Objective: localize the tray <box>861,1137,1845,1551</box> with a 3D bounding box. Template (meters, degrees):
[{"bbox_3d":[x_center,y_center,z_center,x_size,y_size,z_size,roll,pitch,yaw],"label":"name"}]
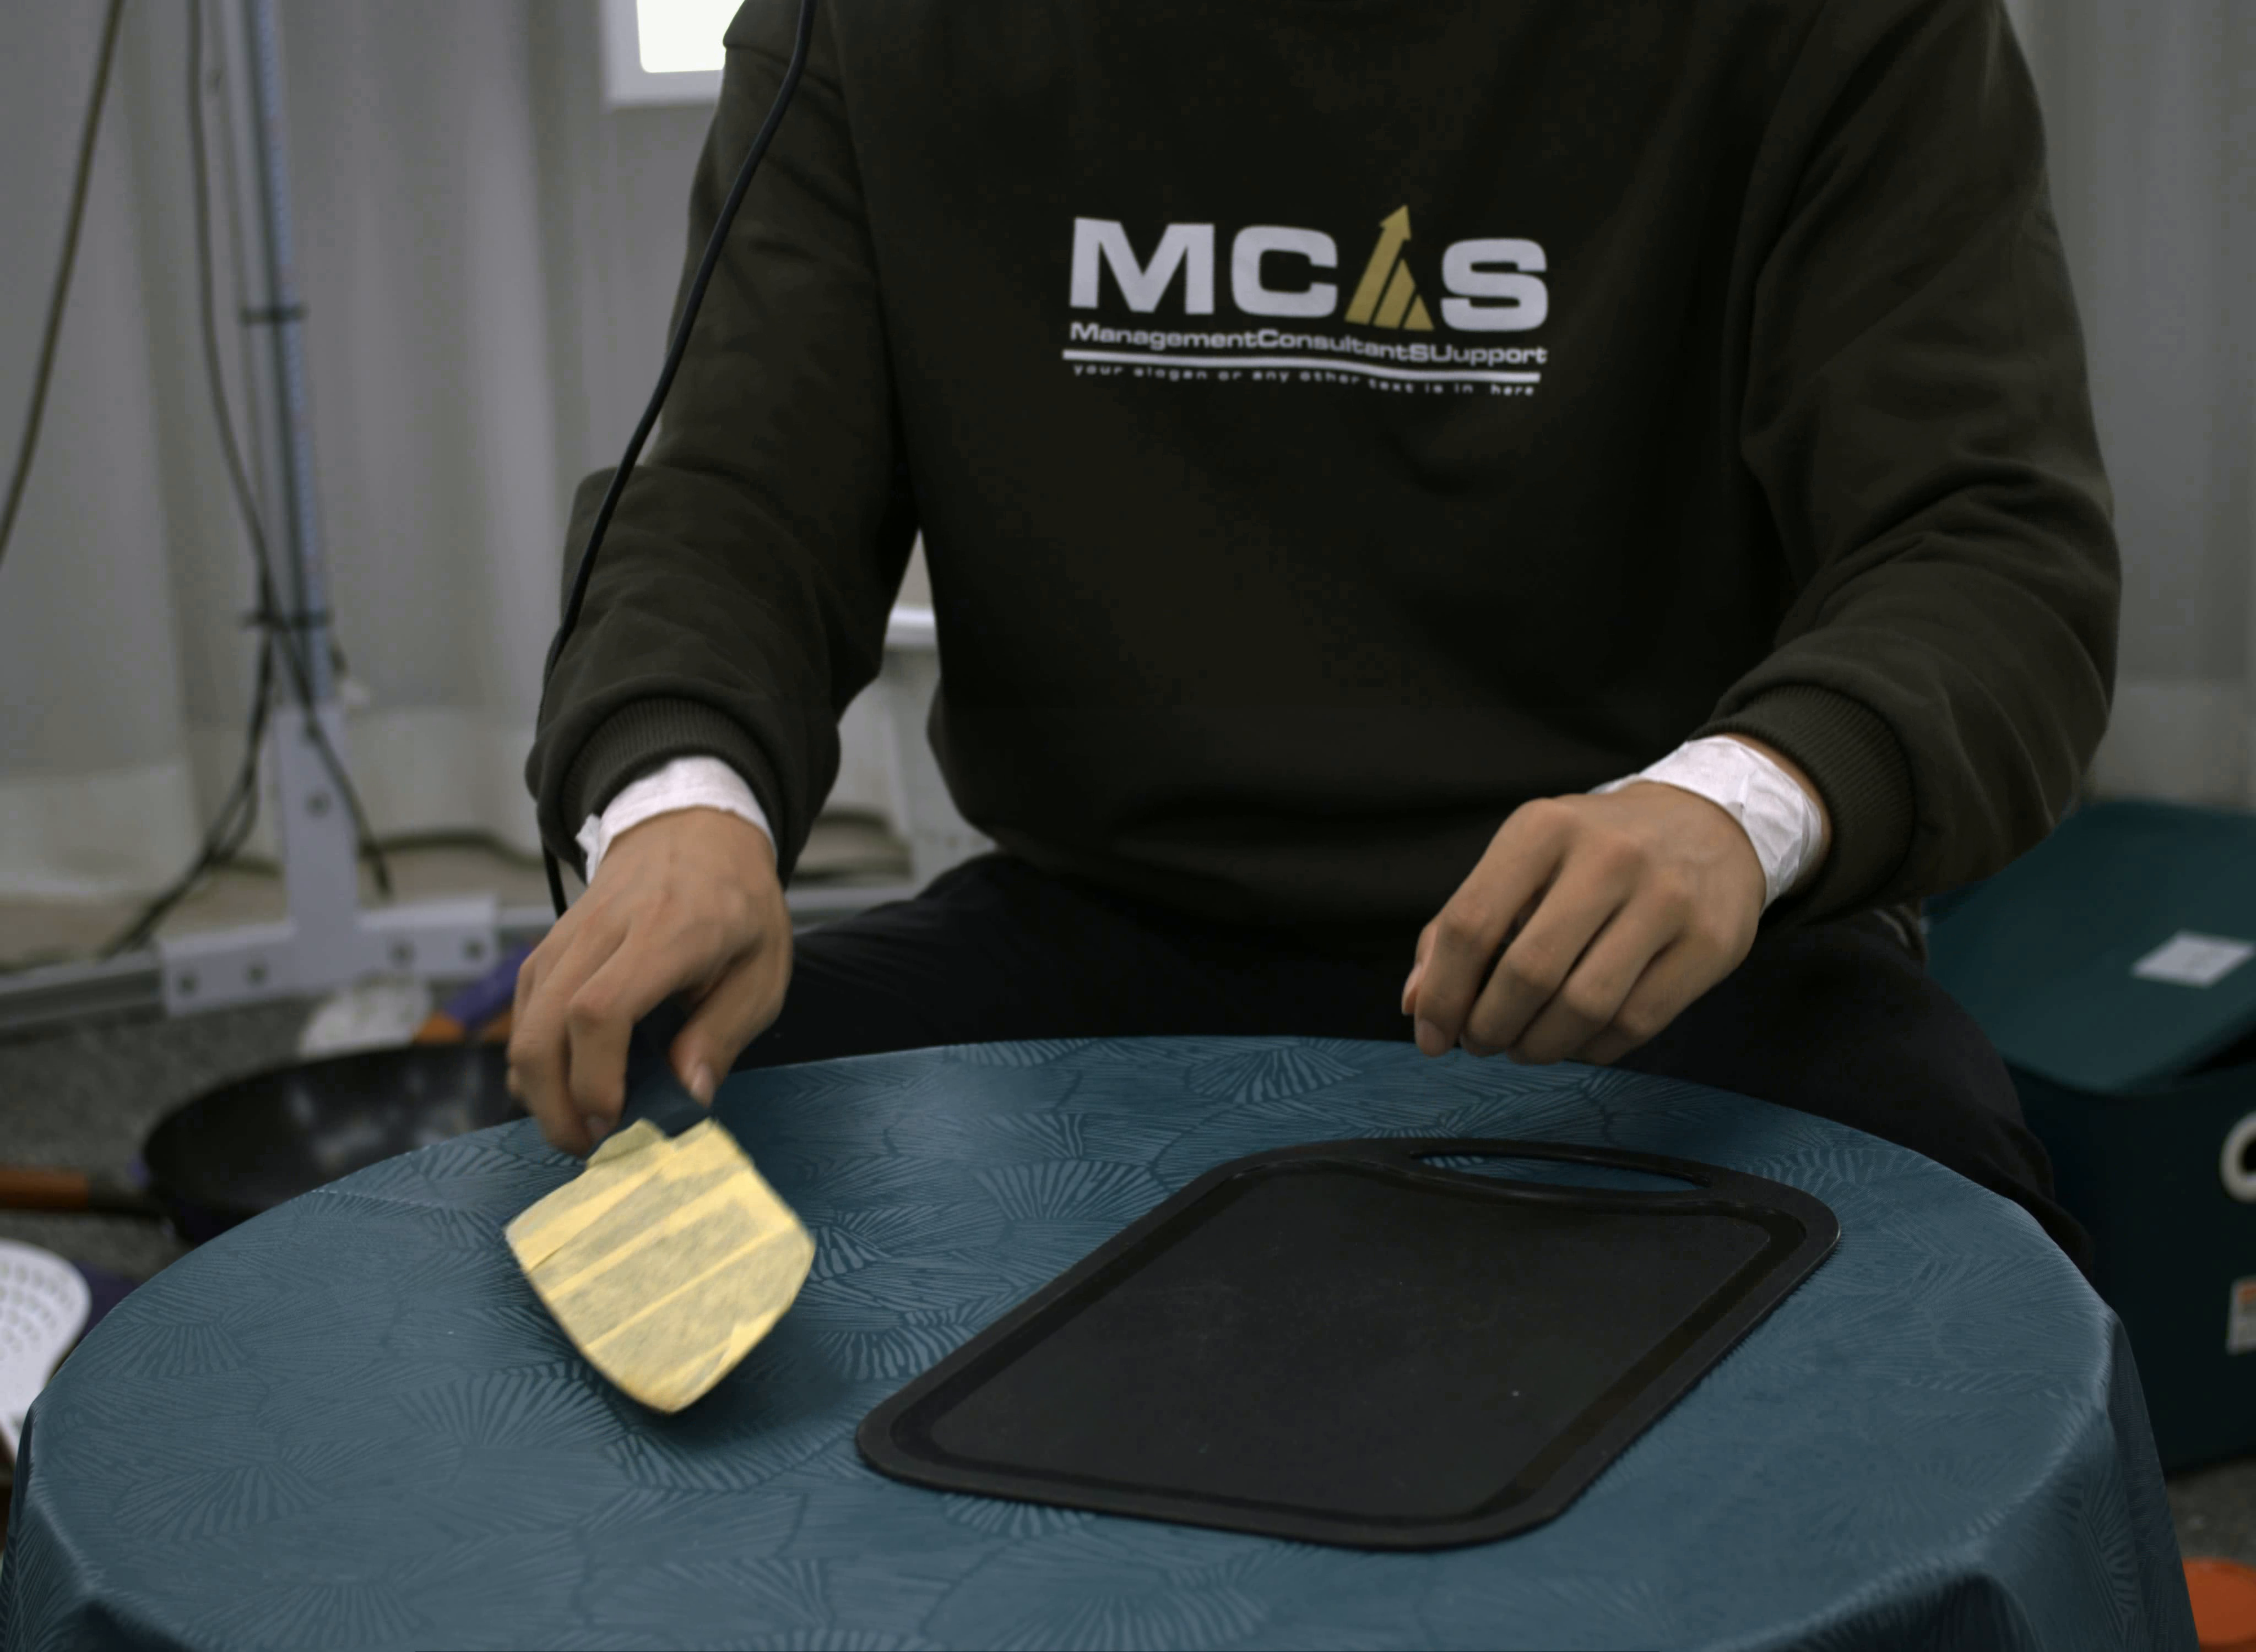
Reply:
[{"bbox_3d":[0.074,0.141,1.589,0.211,0.010,0.326,5,17,26],"label":"tray"}]

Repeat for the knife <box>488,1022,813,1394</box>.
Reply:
[{"bbox_3d":[-0.154,0.114,1.651,0.081,0.027,0.292,-26,21,-8],"label":"knife"}]
